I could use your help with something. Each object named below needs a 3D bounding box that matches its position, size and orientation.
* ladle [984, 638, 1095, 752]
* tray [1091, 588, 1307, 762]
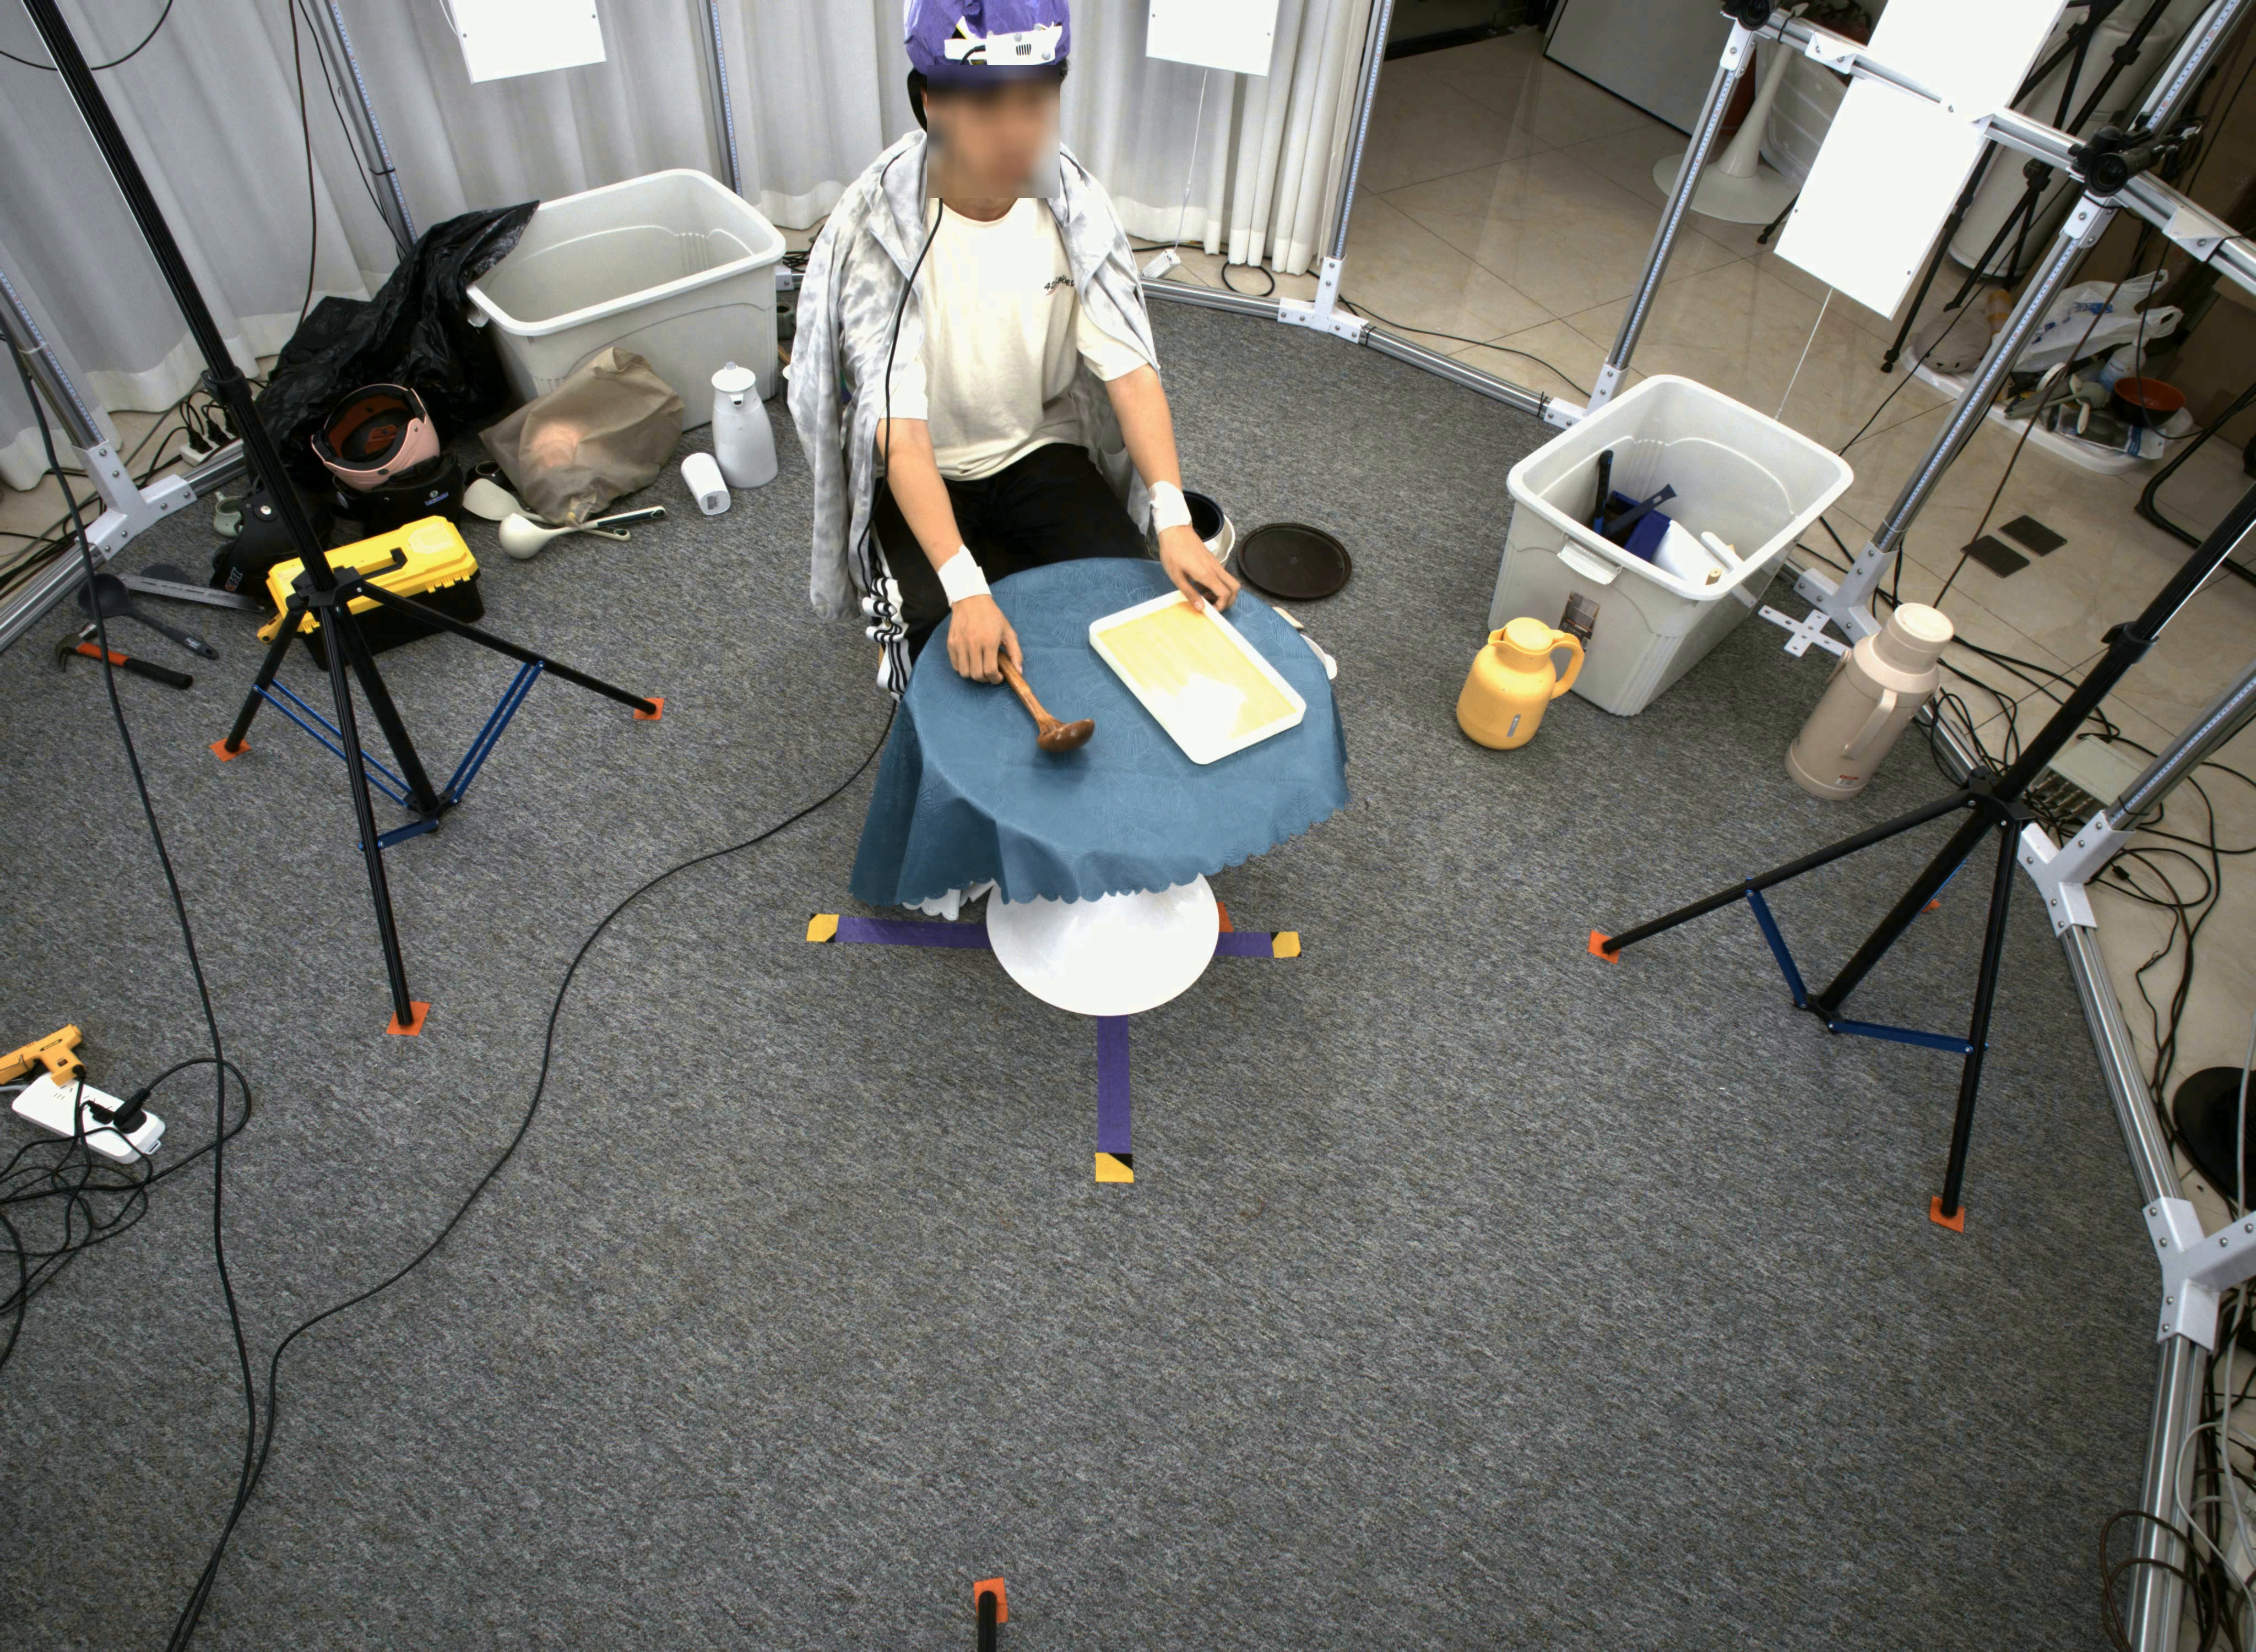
[{"bbox_3d":[-0.135,-0.196,1.772,0.082,0.075,0.280,-16,51,-25],"label":"ladle"},{"bbox_3d":[0.097,-0.223,1.843,0.192,0.027,0.306,-23,54,-22],"label":"tray"}]
